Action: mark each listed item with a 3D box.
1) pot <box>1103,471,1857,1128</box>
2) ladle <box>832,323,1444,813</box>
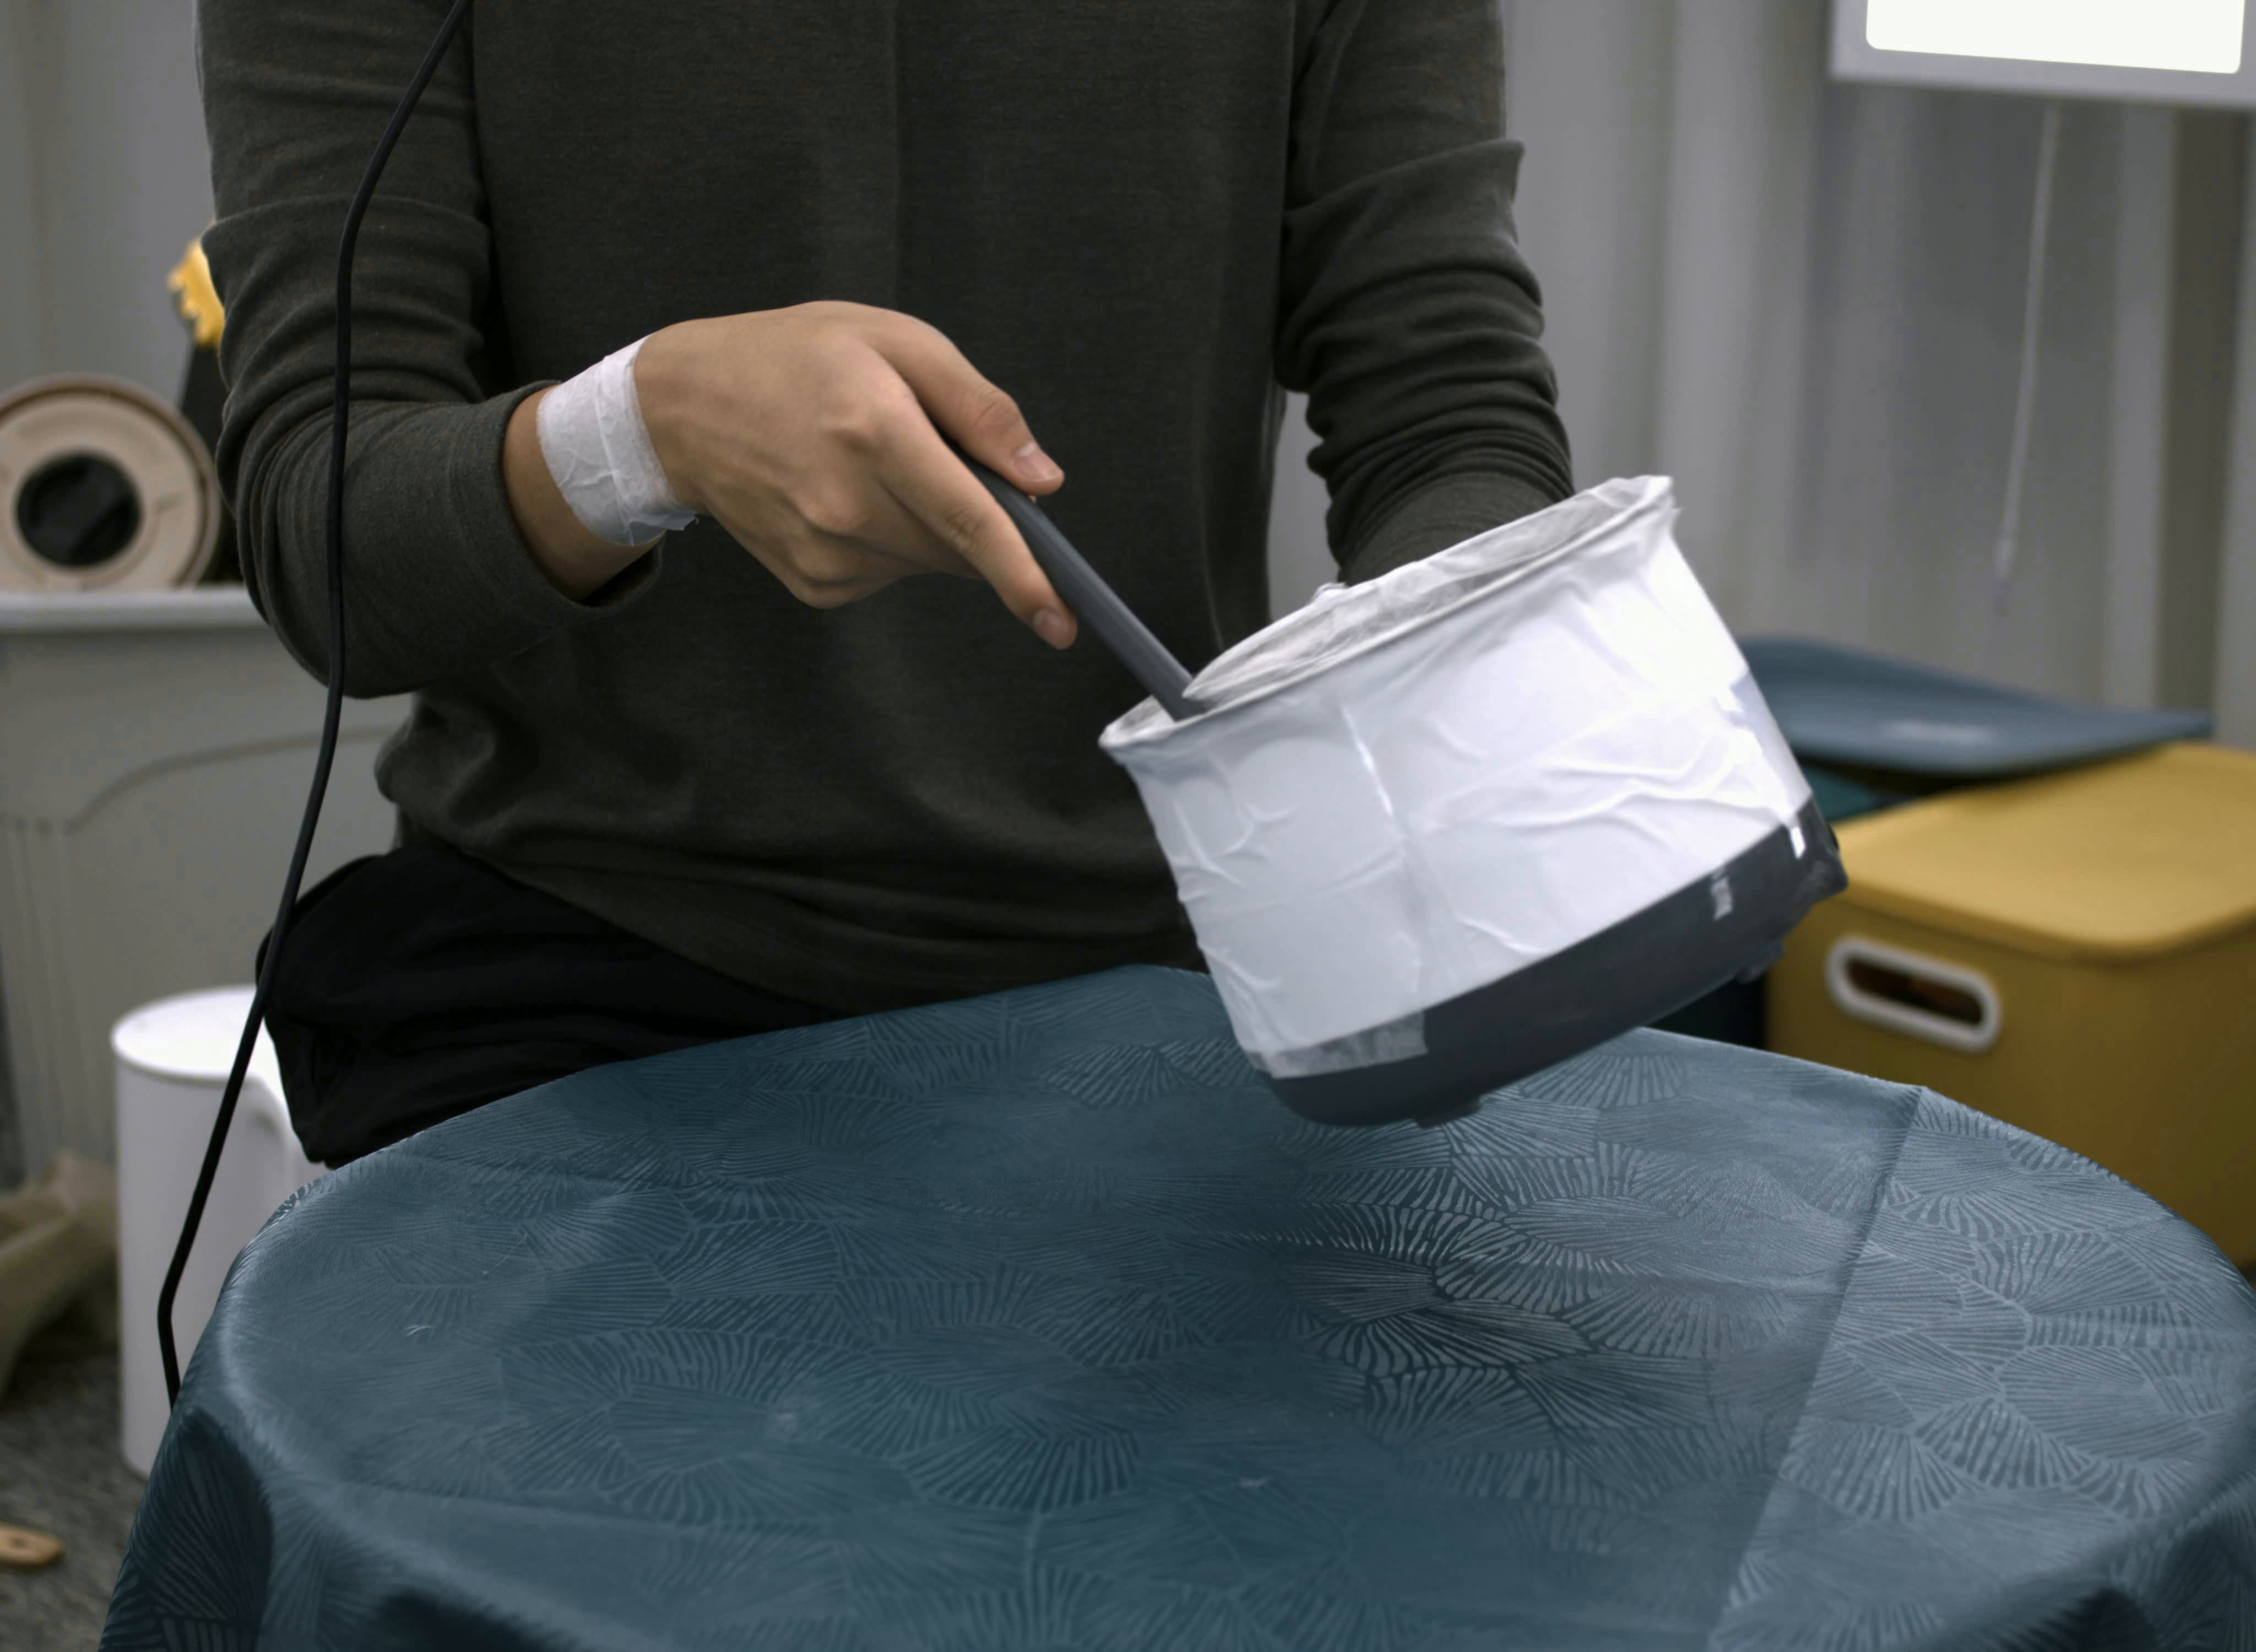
[{"bbox_3d":[0.095,-0.006,1.499,0.178,0.137,0.233,-24,6,-6],"label":"pot"},{"bbox_3d":[0.006,-0.084,1.517,0.087,0.064,0.309,40,6,-48],"label":"ladle"}]
